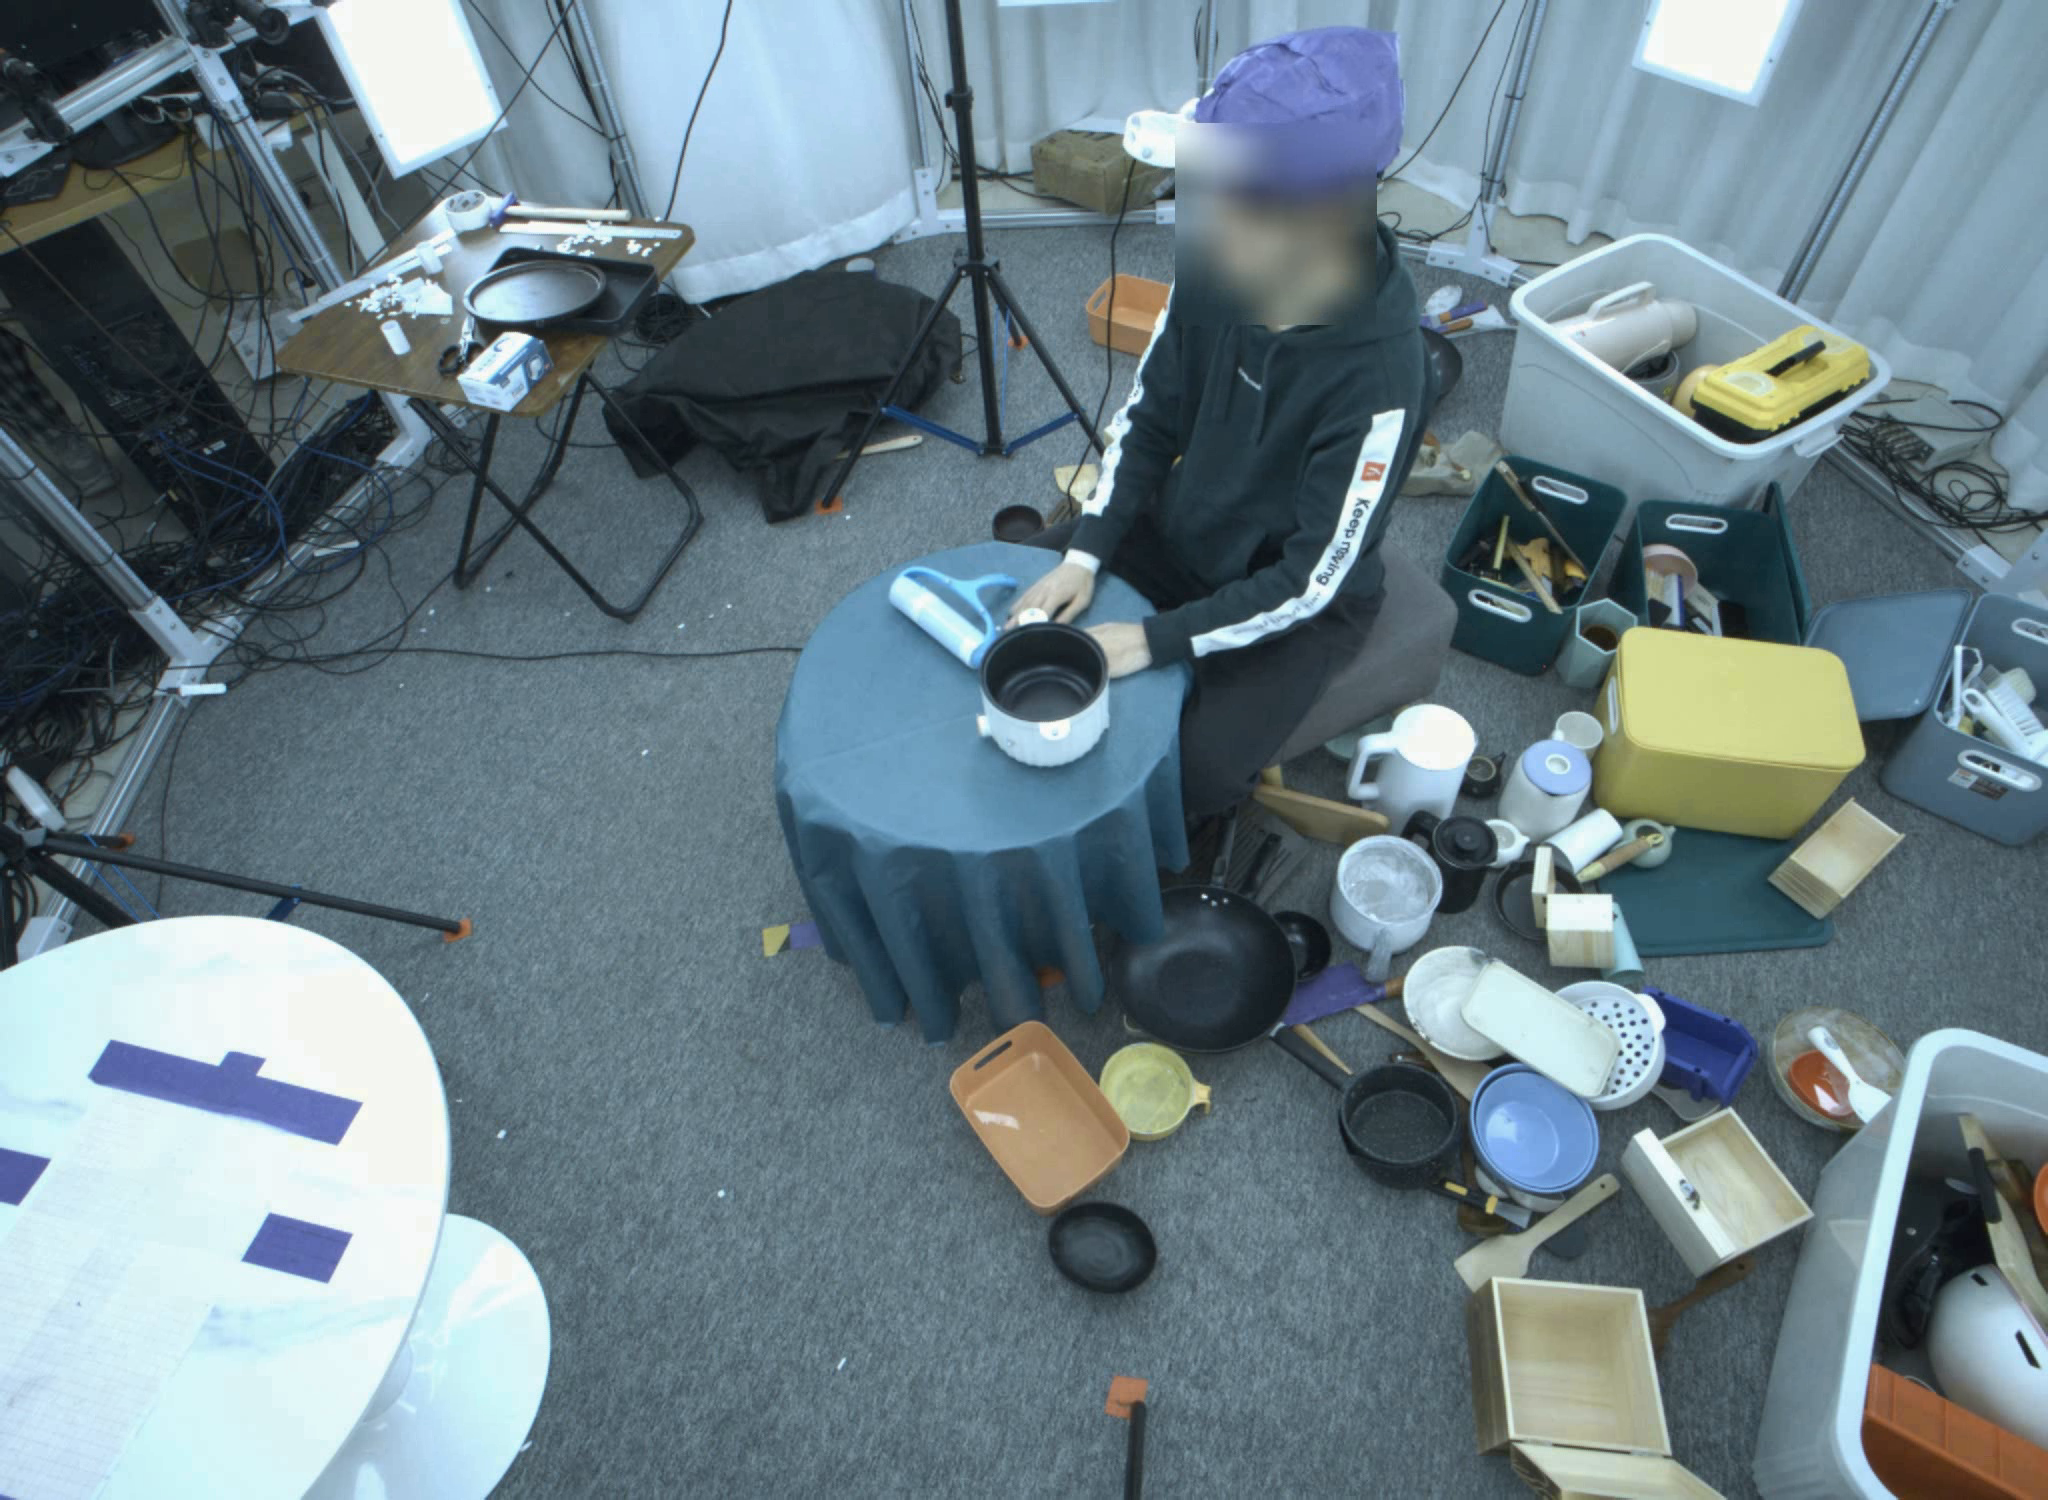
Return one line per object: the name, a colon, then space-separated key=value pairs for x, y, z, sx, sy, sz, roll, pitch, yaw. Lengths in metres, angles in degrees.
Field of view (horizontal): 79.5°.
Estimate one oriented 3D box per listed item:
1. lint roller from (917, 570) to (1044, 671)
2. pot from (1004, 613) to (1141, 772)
lint roller: x=-0.042 y=-0.230 z=1.914 sx=0.224 sy=0.069 sz=0.181 roll=37 pitch=64 yaw=27
pot: x=0.067 y=-0.063 z=1.740 sx=0.191 sy=0.144 sz=0.237 roll=-6 pitch=53 yaw=-5
